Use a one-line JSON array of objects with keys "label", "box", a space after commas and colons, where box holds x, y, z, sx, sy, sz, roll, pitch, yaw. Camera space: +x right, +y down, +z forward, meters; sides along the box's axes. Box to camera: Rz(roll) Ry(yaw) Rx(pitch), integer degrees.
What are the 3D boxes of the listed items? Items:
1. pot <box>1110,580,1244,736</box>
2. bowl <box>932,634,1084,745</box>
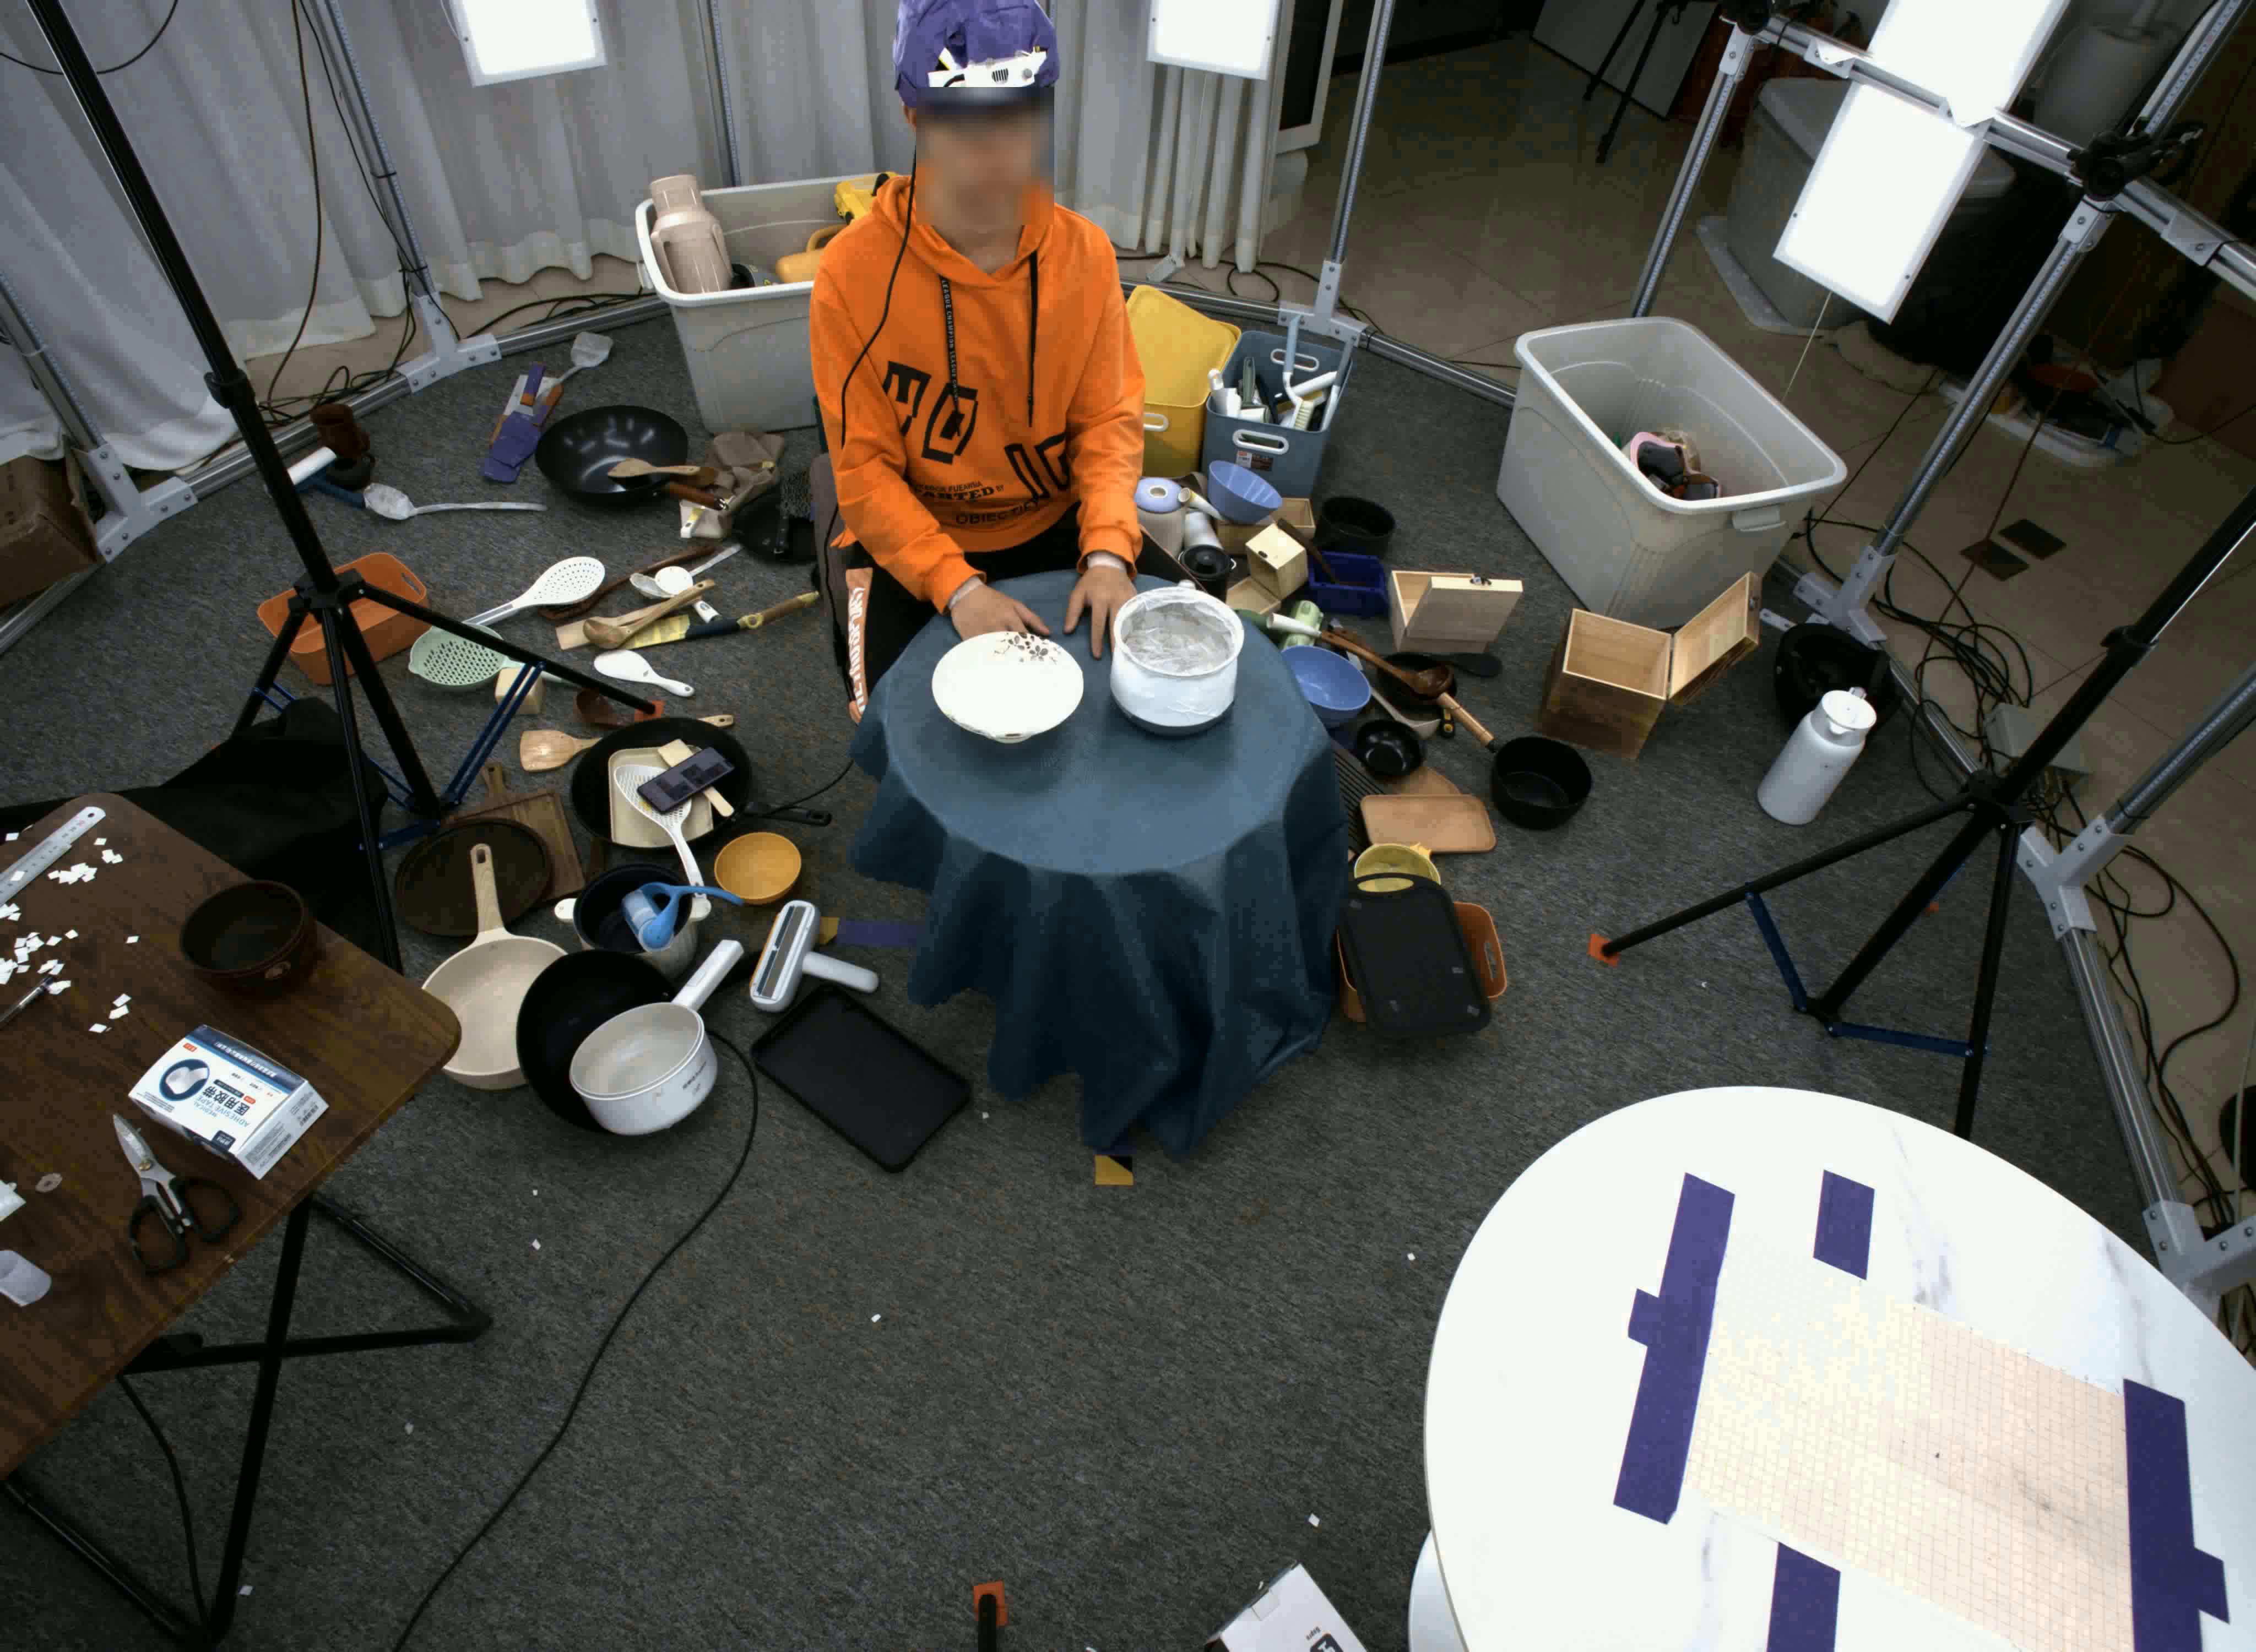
[{"label": "pot", "box": [0.068, -0.245, 1.798, 0.179, 0.133, 0.239, 7, 49, 2]}, {"label": "bowl", "box": [-0.163, -0.168, 1.755, 0.204, 0.076, 0.209, 1, 47, -2]}]
